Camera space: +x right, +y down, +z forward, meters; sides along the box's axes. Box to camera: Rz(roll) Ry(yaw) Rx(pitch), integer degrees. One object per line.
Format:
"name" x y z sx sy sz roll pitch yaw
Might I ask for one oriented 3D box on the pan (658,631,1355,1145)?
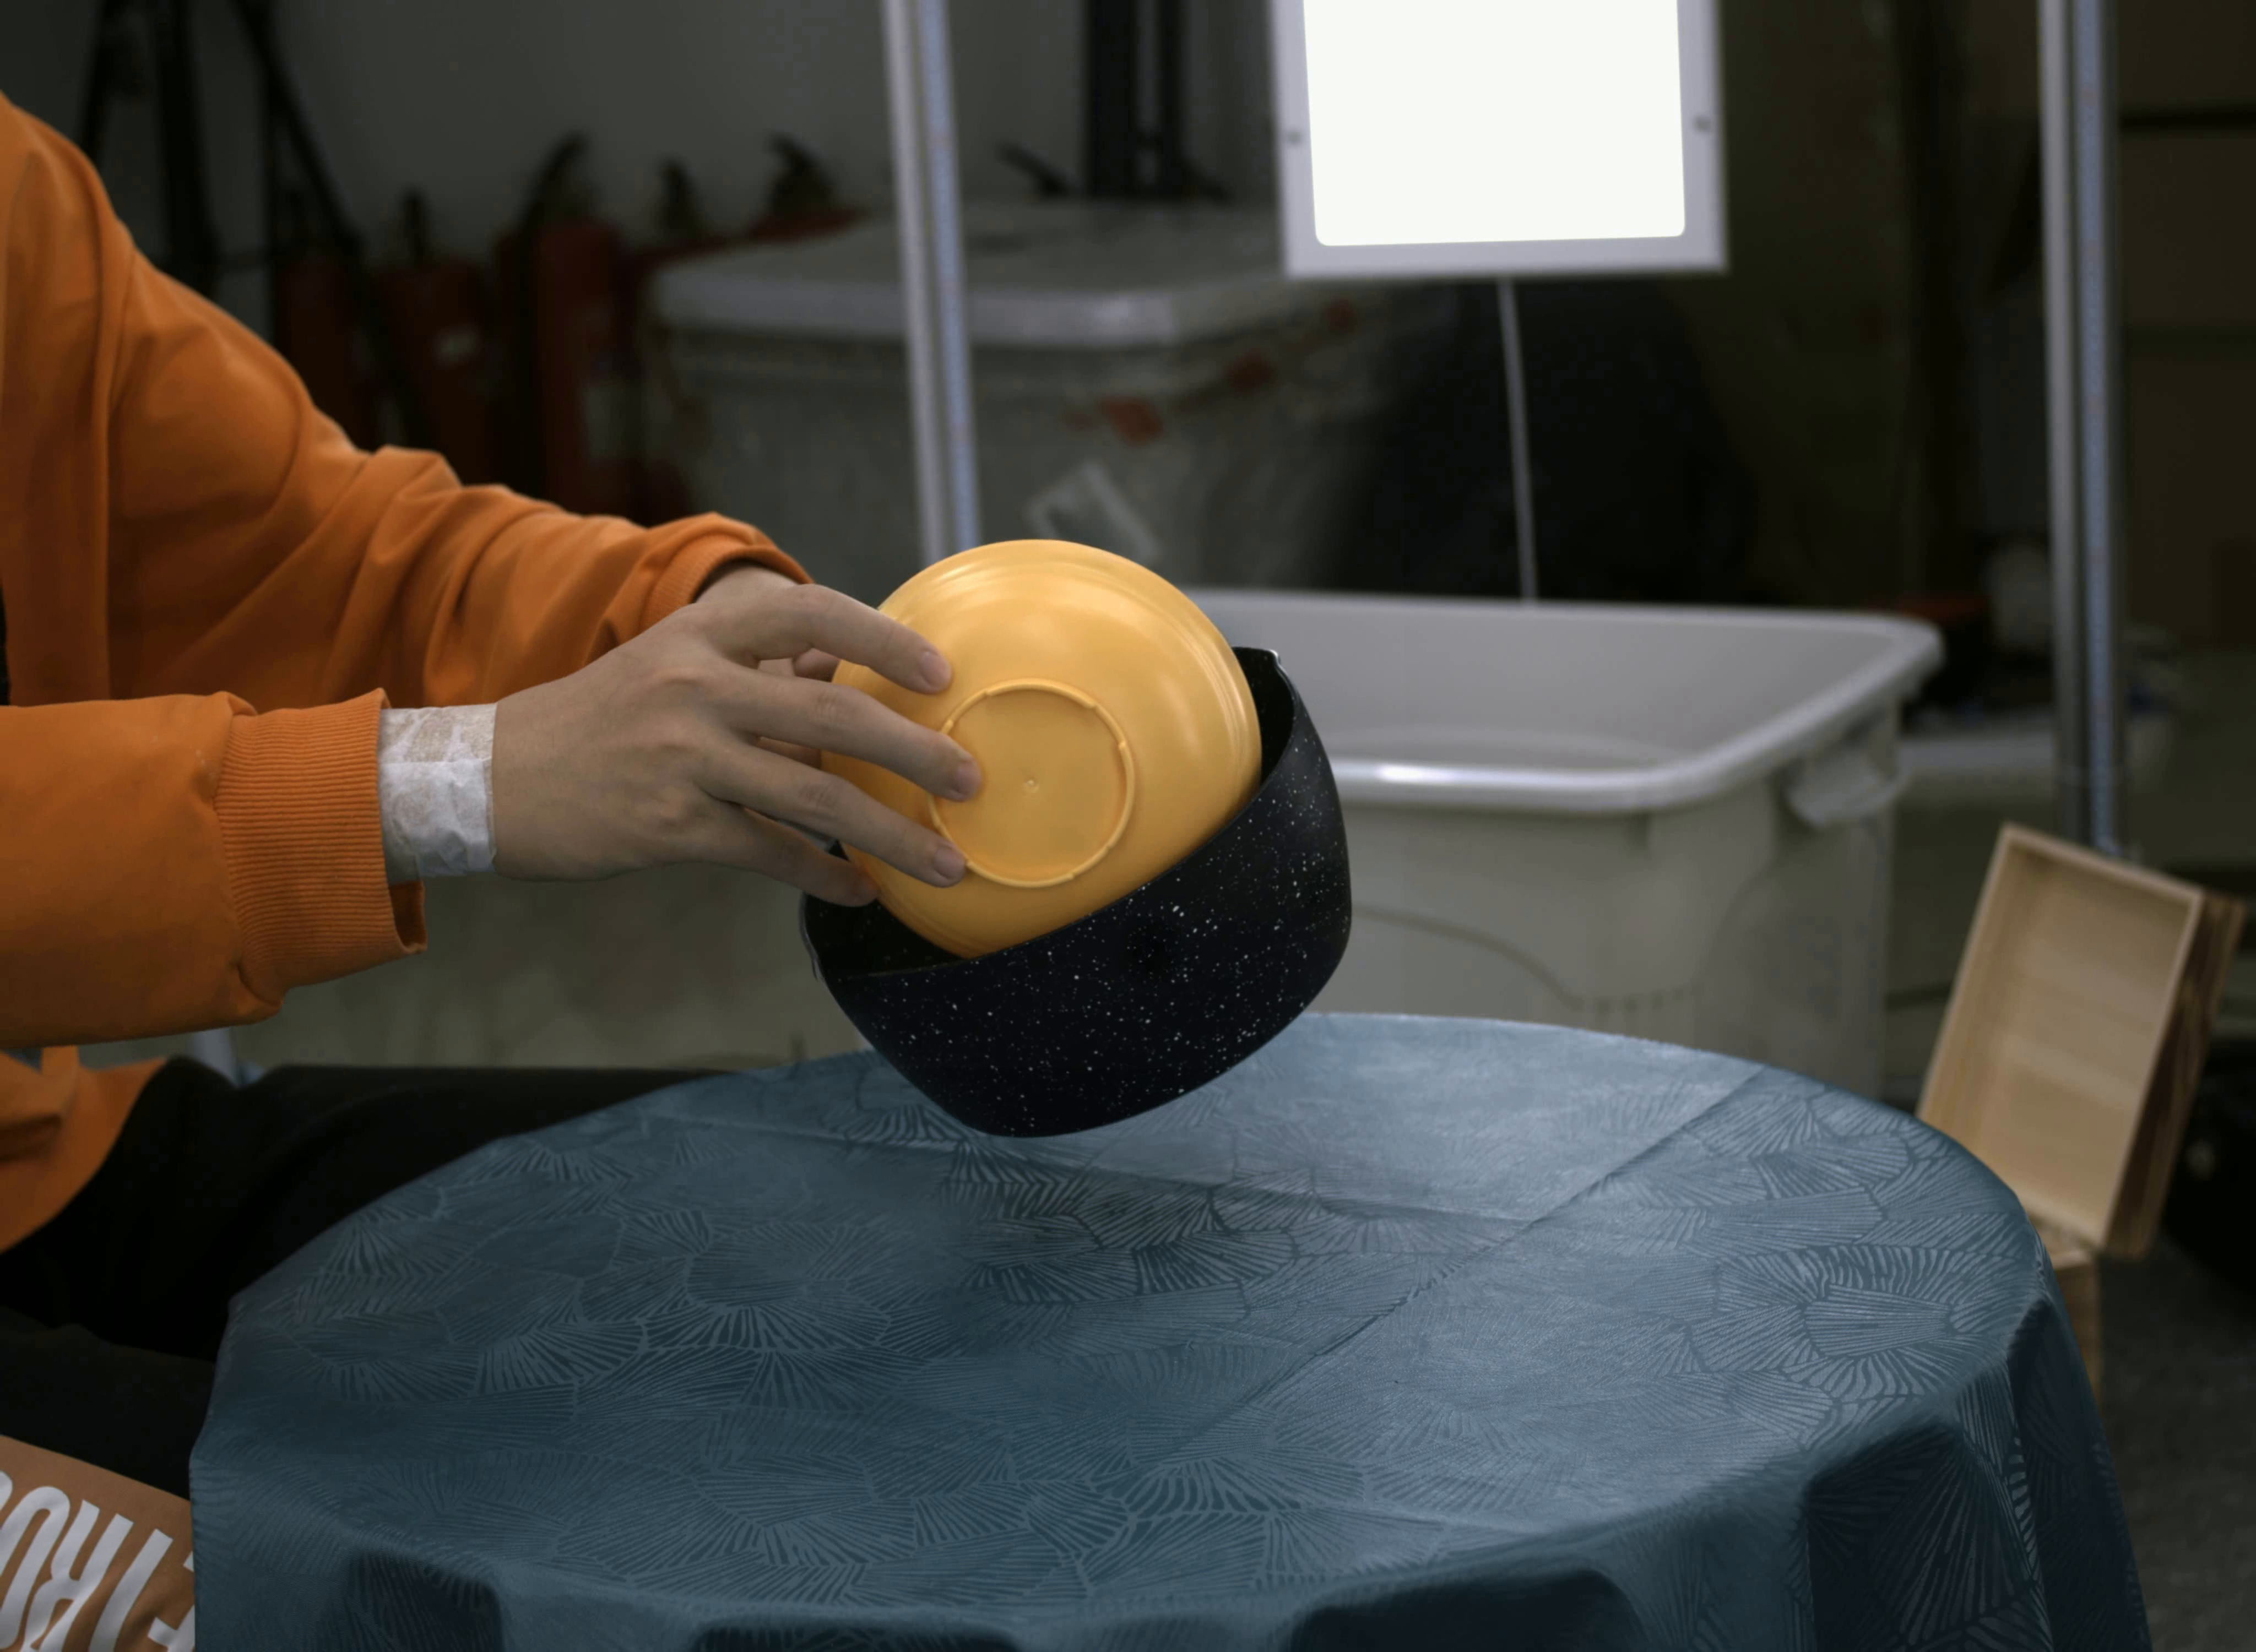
"pan" -0.058 0.007 1.909 0.204 0.108 0.349 -39 28 -21

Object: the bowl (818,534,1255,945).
"bowl" -0.032 -0.018 1.774 0.145 0.146 0.060 -3 14 6
